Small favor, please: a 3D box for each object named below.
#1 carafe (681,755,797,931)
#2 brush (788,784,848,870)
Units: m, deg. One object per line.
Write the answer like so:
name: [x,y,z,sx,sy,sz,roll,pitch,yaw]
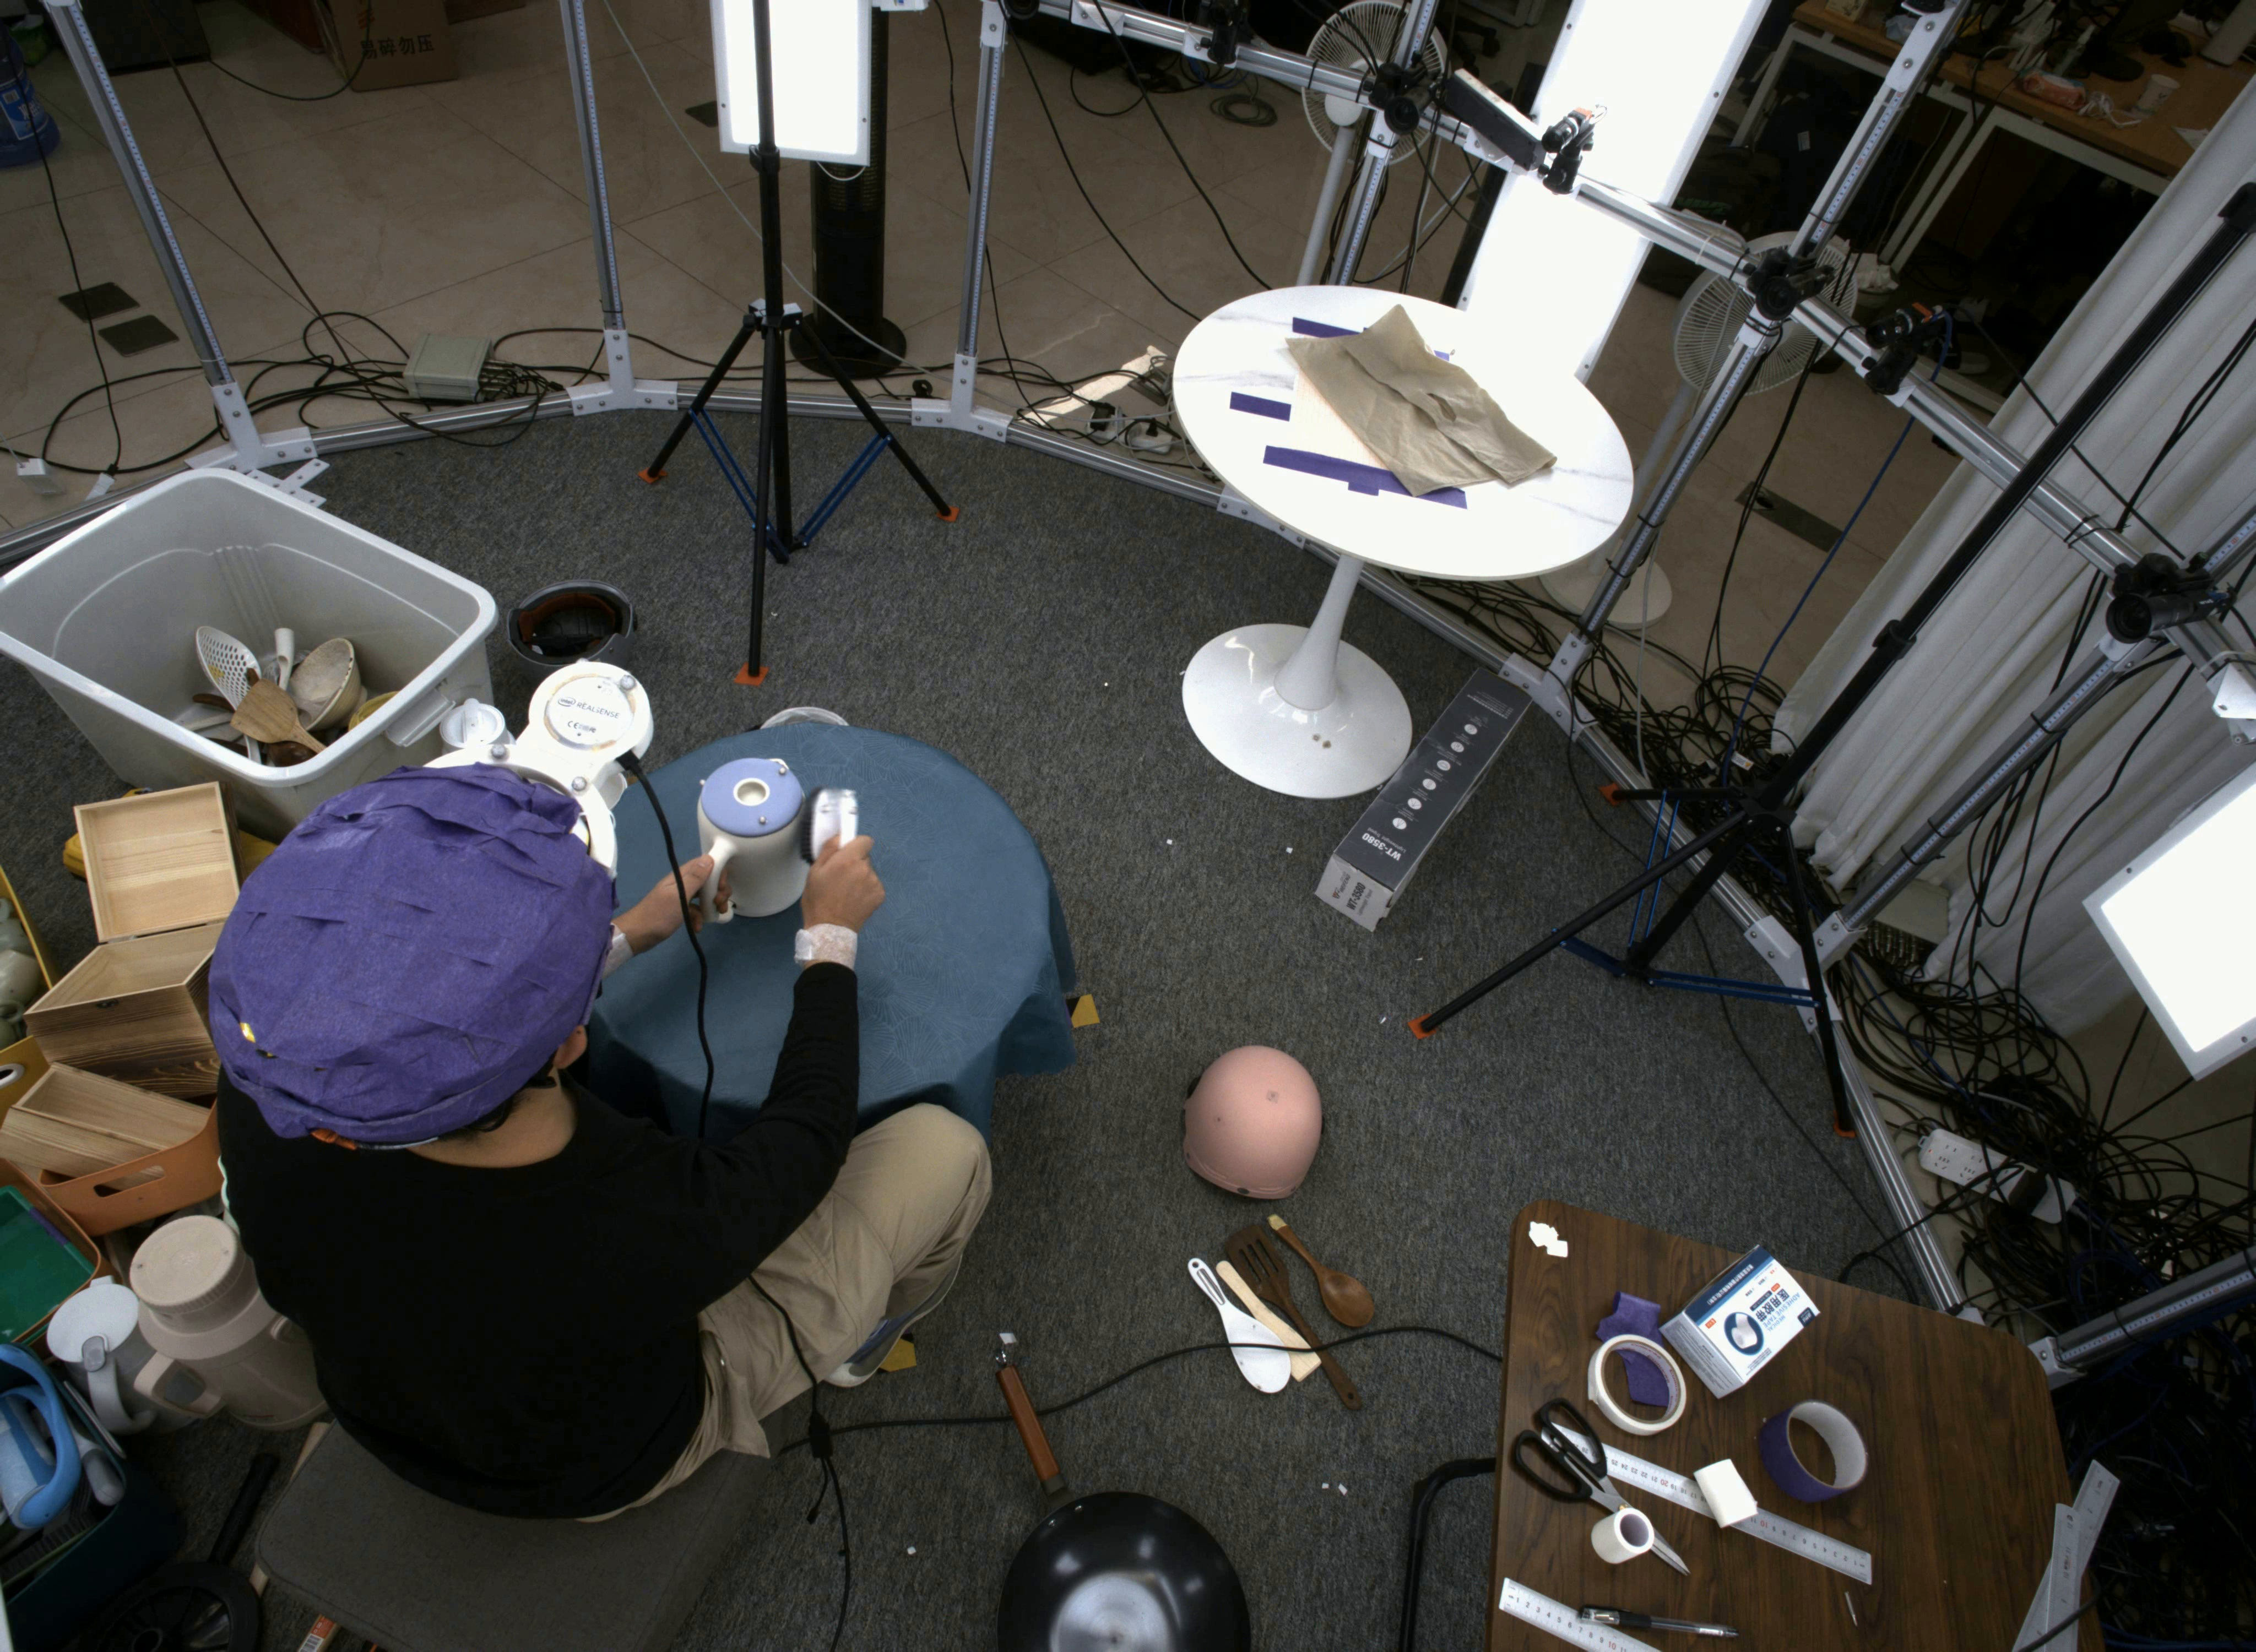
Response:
carafe: [-0.483,0.032,1.568,0.131,0.186,0.189,19,52,3]
brush: [-0.354,0.001,1.515,0.051,0.070,0.100,12,87,-46]
